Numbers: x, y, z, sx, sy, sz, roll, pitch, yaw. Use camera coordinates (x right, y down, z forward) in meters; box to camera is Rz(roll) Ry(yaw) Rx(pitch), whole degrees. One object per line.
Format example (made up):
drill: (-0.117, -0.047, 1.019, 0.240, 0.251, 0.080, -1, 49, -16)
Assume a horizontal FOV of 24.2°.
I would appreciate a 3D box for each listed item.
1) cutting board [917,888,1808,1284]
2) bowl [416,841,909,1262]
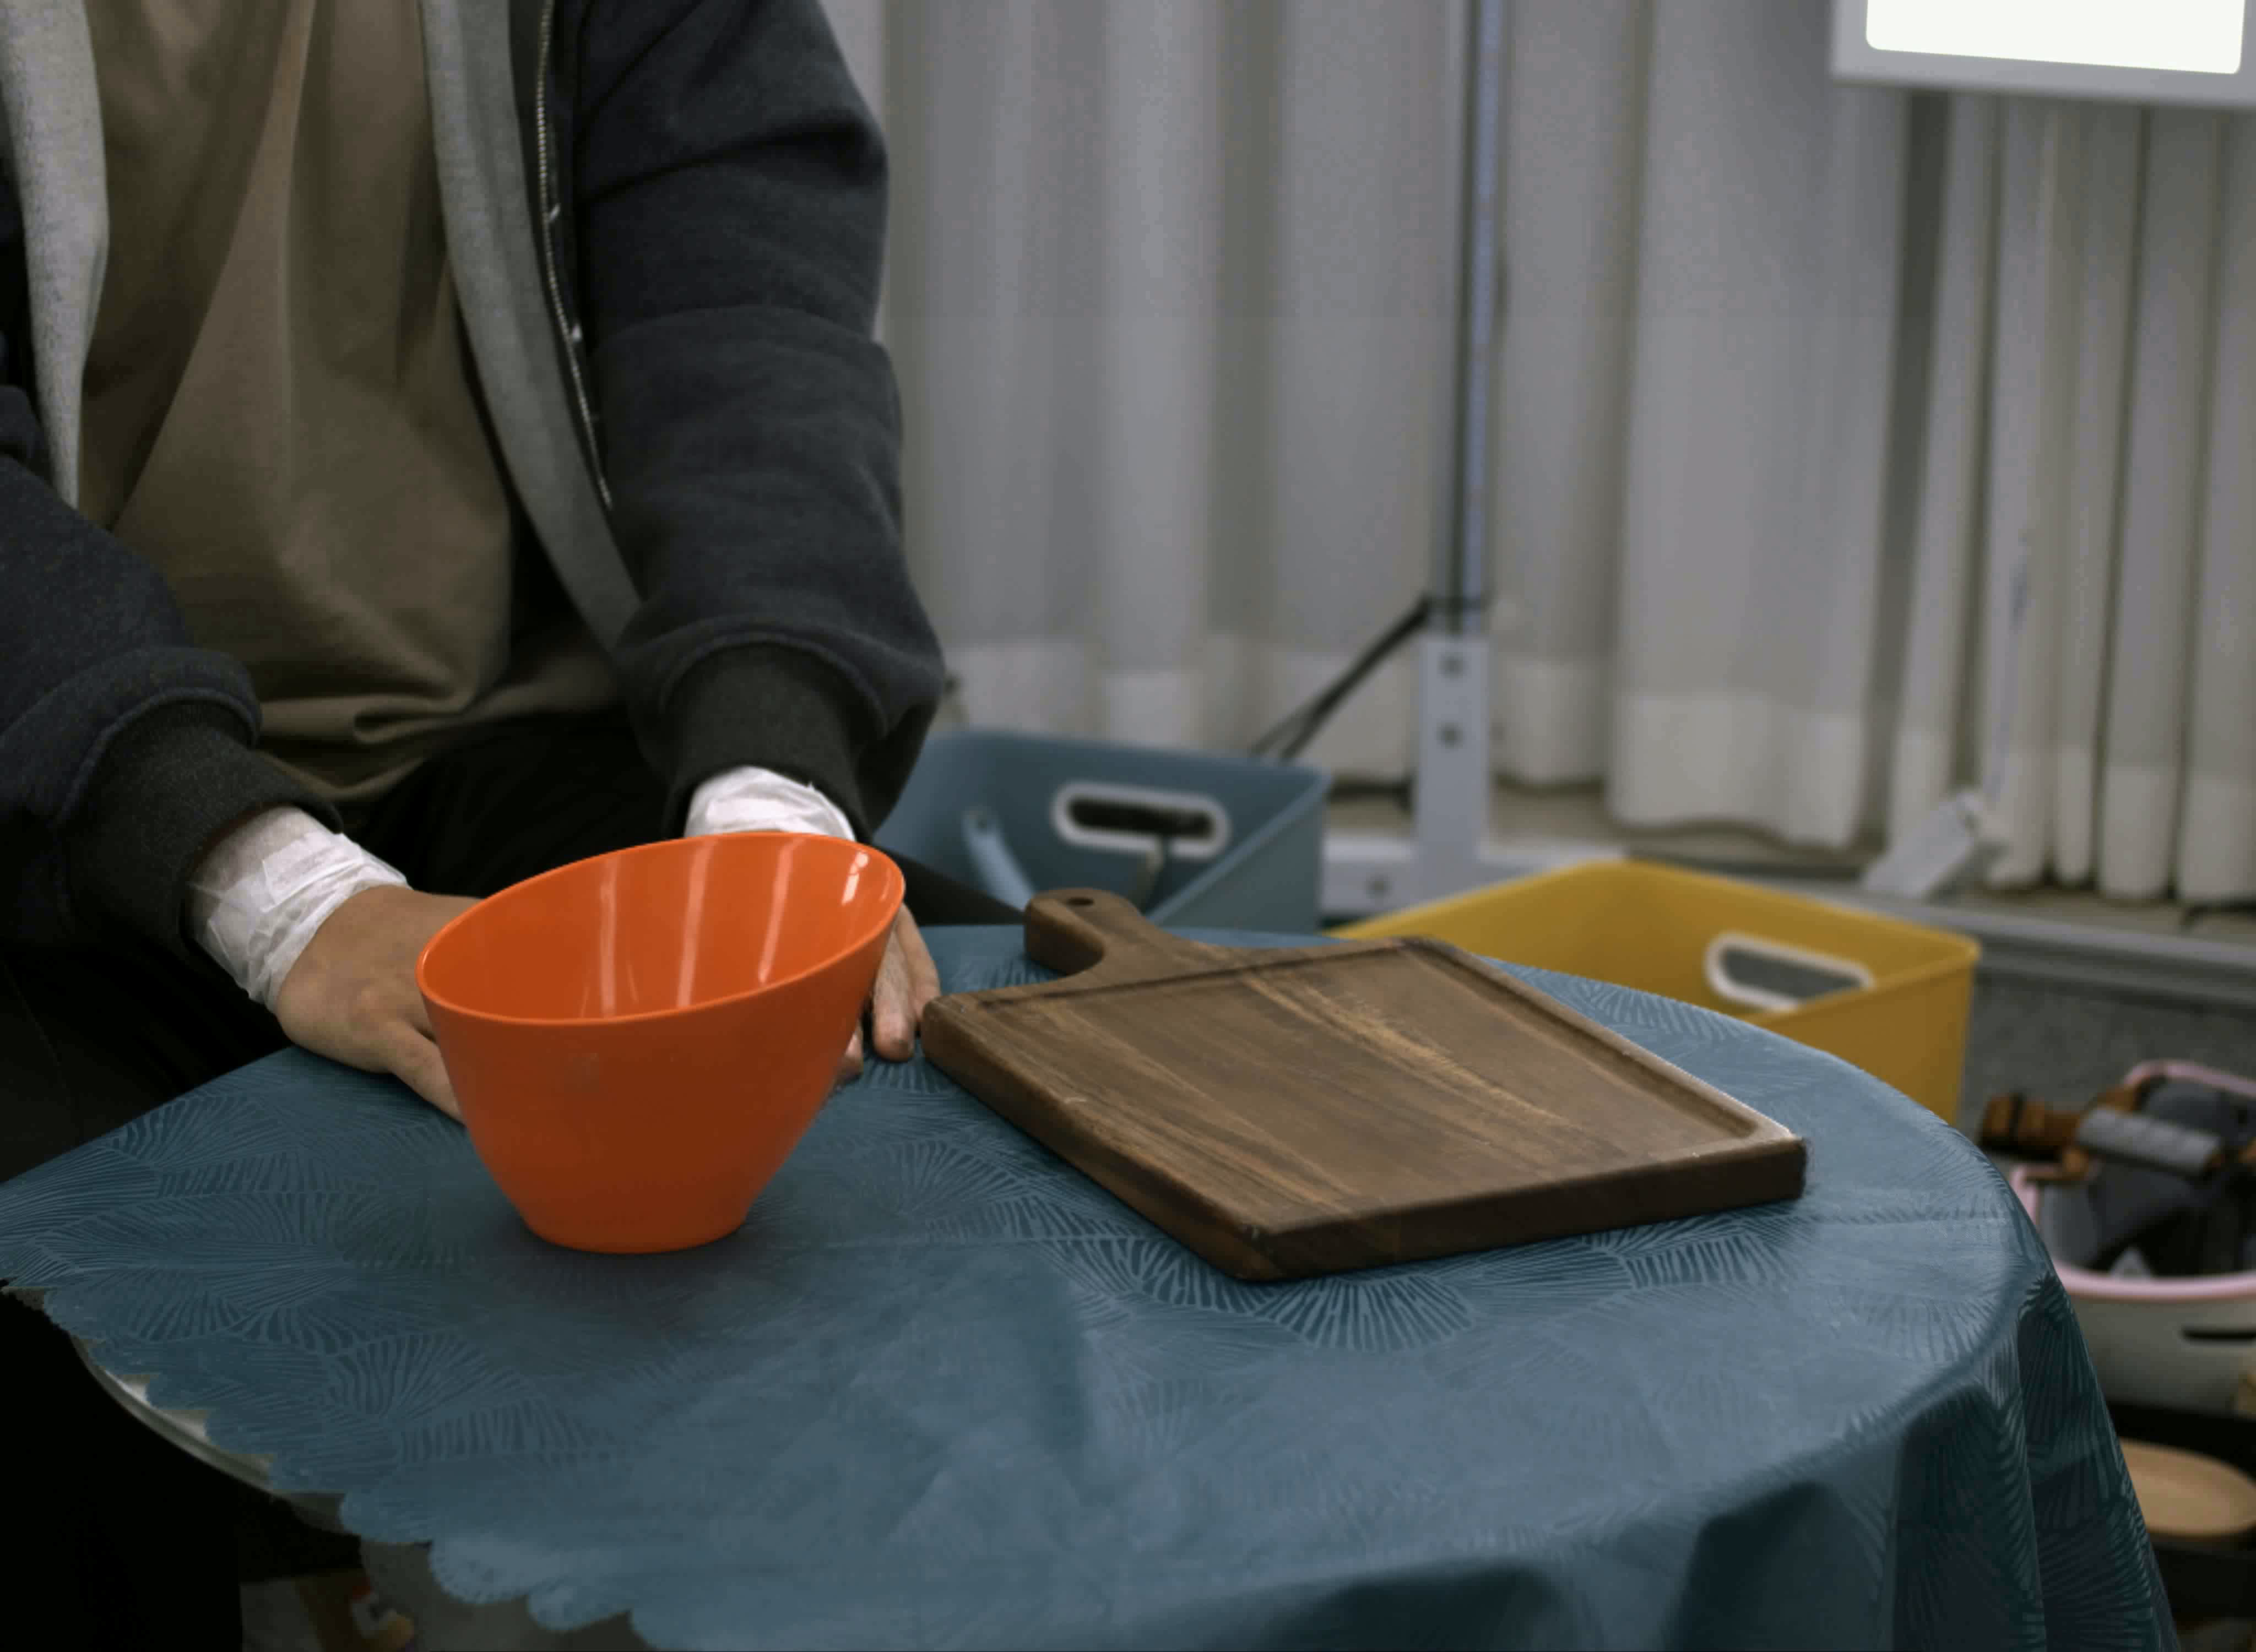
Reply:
cutting board: (0.049, 0.074, 1.726, 0.202, 0.023, 0.348, -7, 17, -25)
bowl: (-0.138, 0.070, 1.584, 0.147, 0.105, 0.147, 0, 15, 0)
